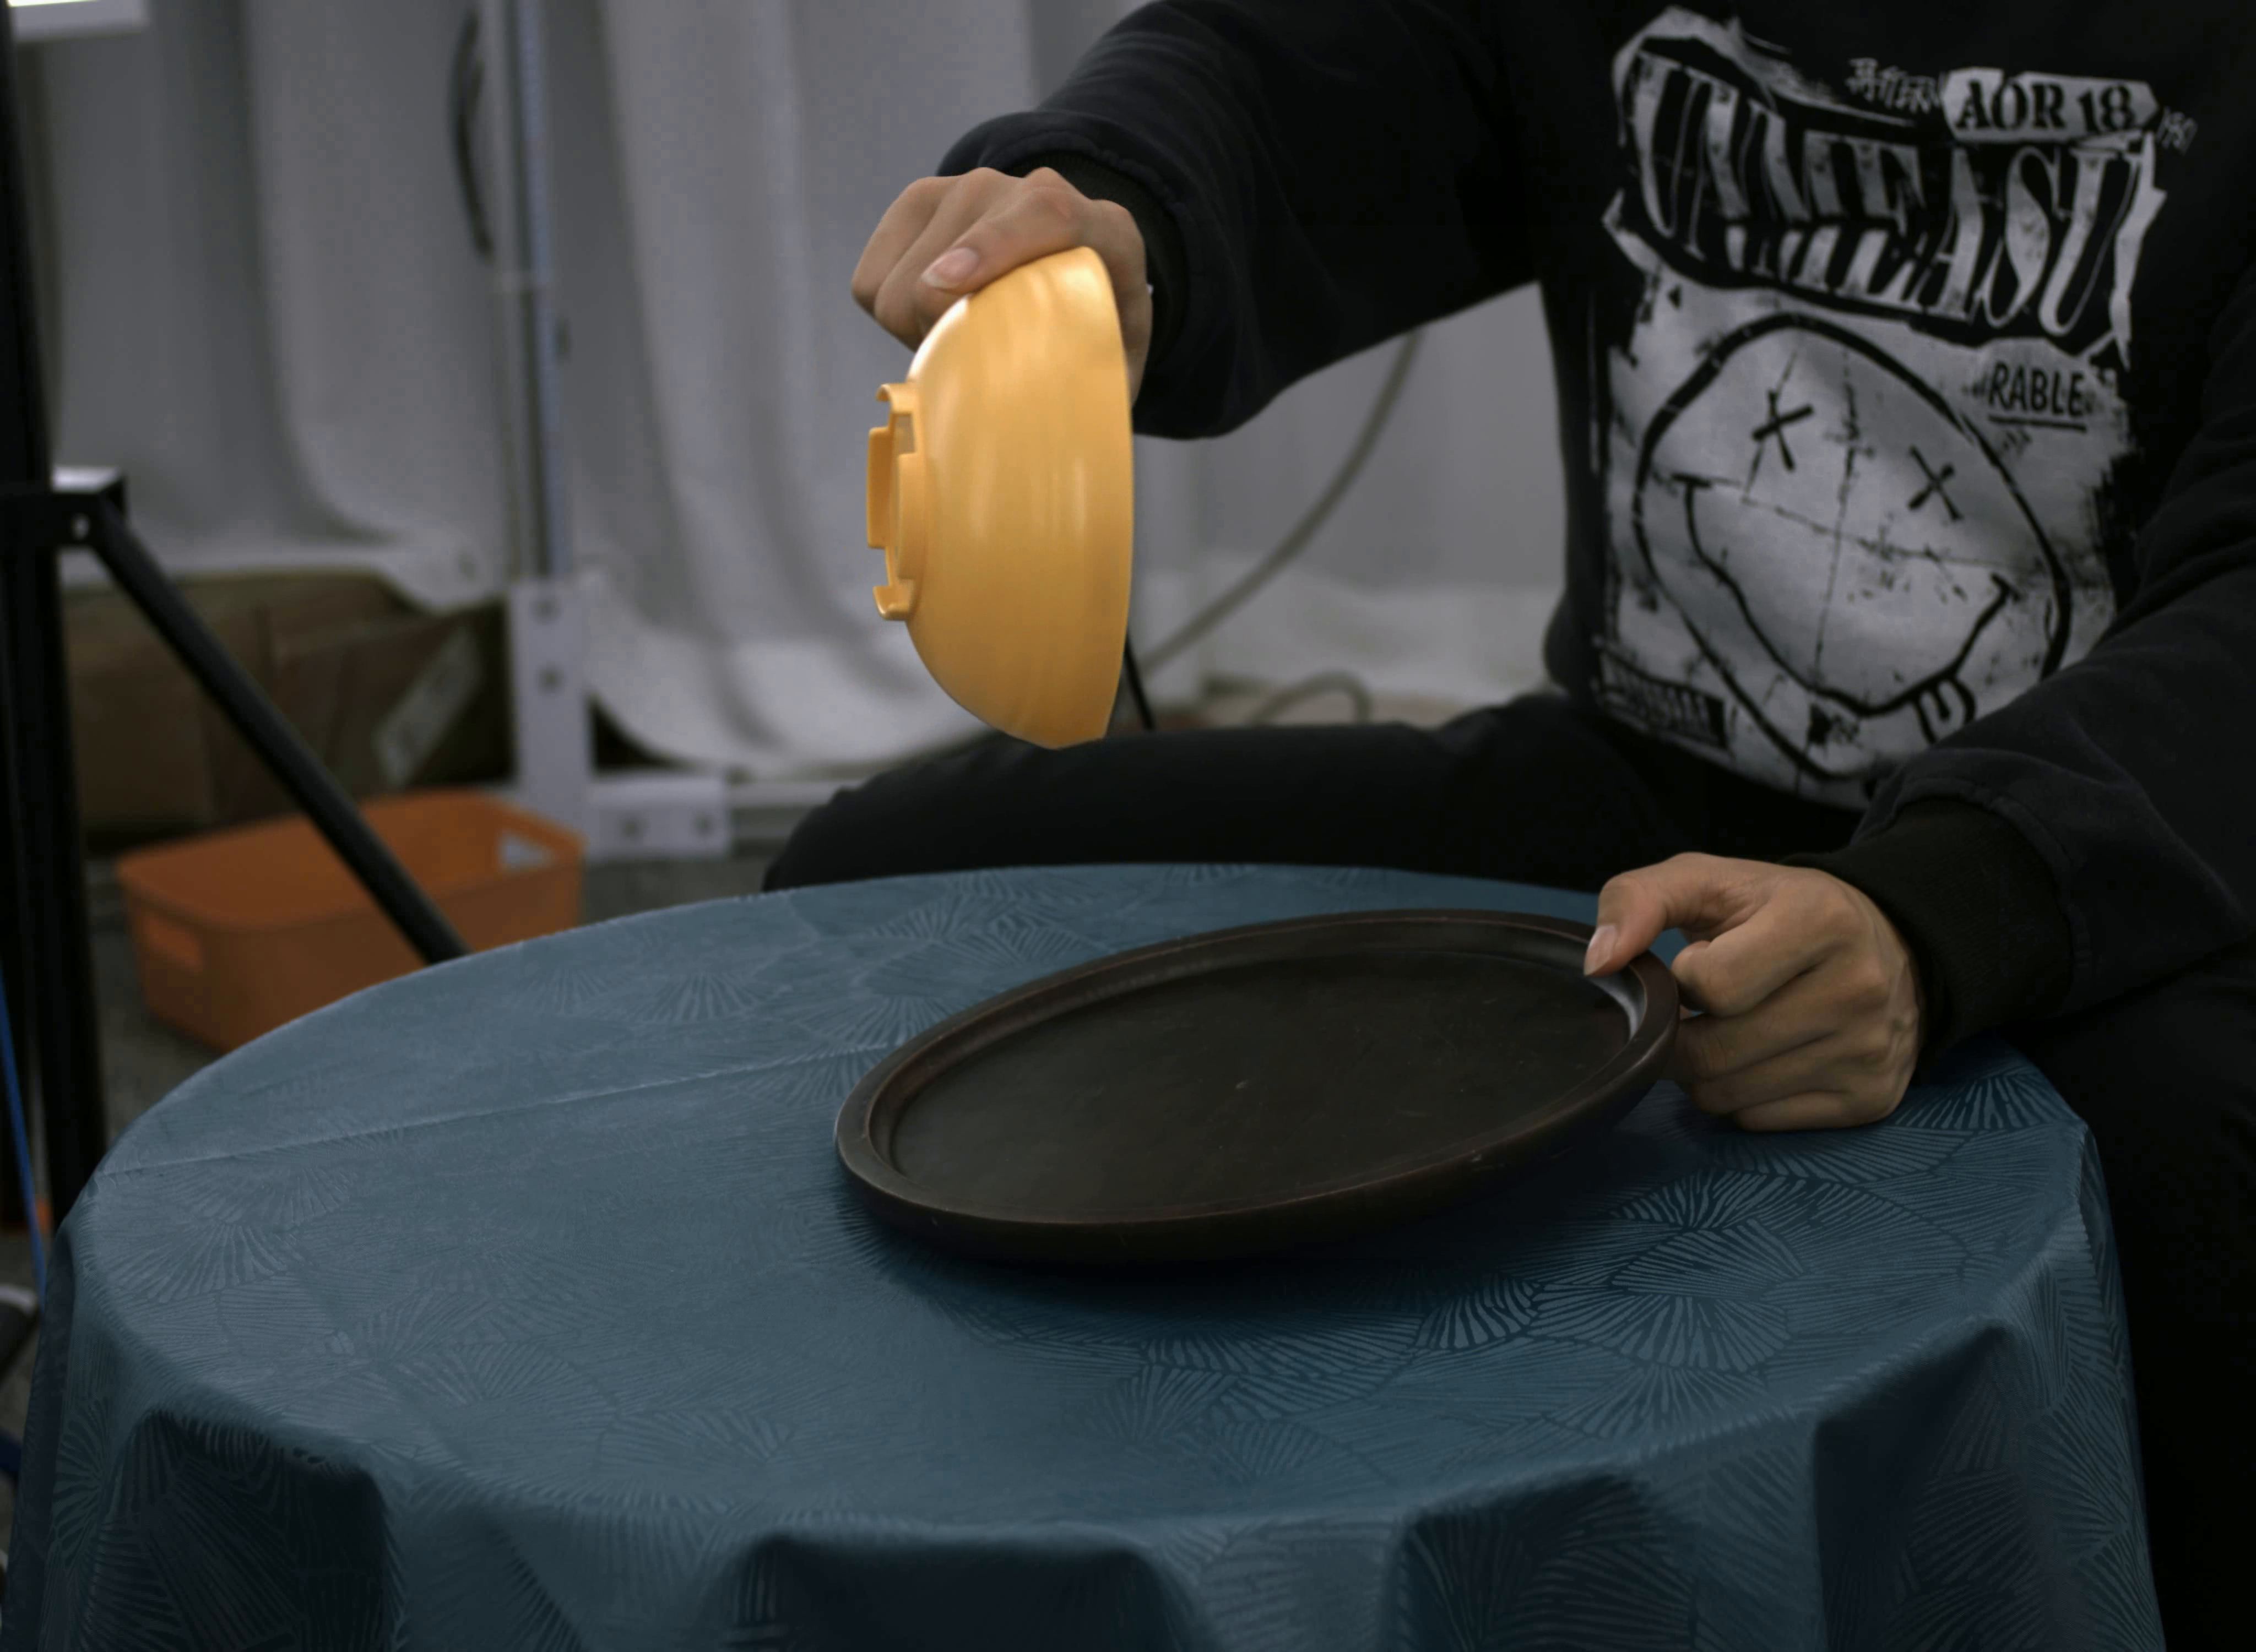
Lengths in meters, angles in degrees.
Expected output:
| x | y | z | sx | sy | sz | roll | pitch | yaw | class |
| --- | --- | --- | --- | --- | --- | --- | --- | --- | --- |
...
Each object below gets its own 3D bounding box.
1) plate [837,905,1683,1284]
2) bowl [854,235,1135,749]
| x | y | z | sx | sy | sz | roll | pitch | yaw | class |
| --- | --- | --- | --- | --- | --- | --- | --- | --- | --- |
| 0.040 | 0.077 | 1.563 | 0.254 | 0.029 | 0.256 | -12 | 15 | 2 | plate |
| -0.043 | -0.094 | 1.500 | 0.059 | 0.145 | 0.147 | -1 | 15 | -13 | bowl |
